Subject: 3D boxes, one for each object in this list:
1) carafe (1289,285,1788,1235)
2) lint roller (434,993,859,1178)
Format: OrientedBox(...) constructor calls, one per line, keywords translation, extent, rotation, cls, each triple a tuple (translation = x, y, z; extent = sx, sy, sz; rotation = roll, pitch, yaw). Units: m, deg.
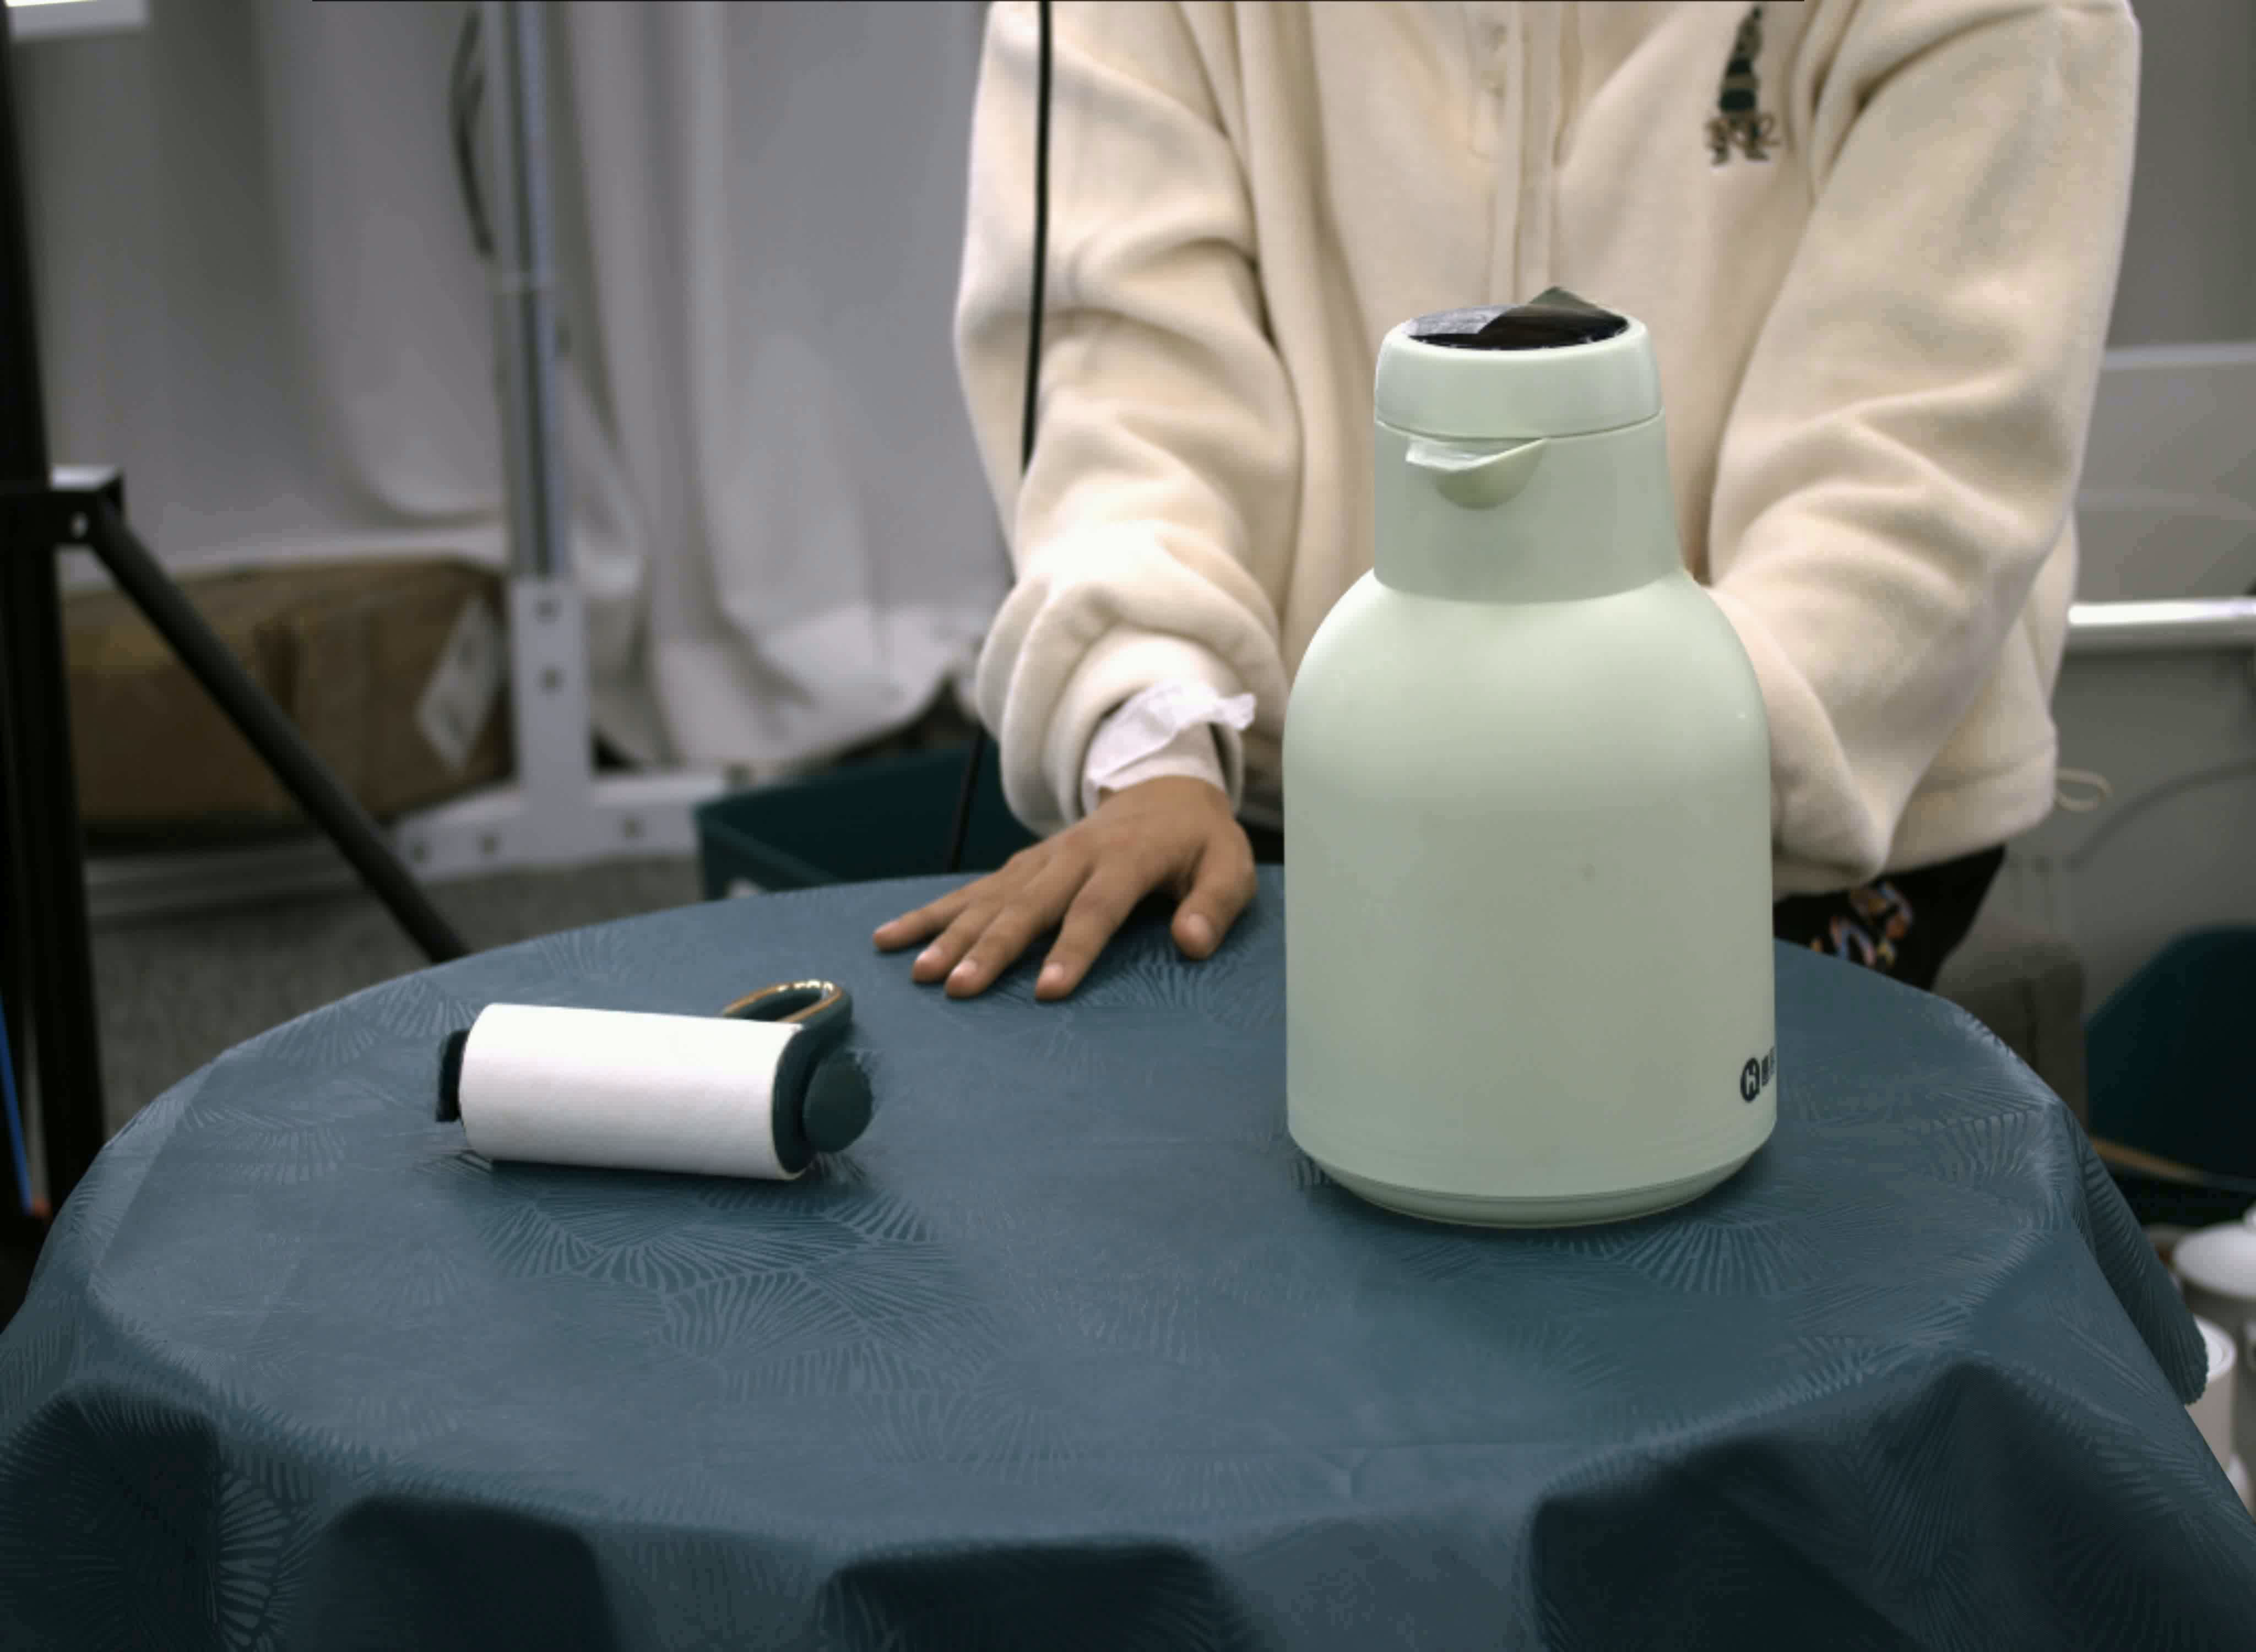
OrientedBox(translation=(0.122, -0.023, 1.546), extent=(0.146, 0.257, 0.184), rotation=(3, 12, 23), cls="carafe")
OrientedBox(translation=(-0.125, 0.061, 1.657), extent=(0.136, 0.048, 0.178), rotation=(3, 16, 18), cls="lint roller")
